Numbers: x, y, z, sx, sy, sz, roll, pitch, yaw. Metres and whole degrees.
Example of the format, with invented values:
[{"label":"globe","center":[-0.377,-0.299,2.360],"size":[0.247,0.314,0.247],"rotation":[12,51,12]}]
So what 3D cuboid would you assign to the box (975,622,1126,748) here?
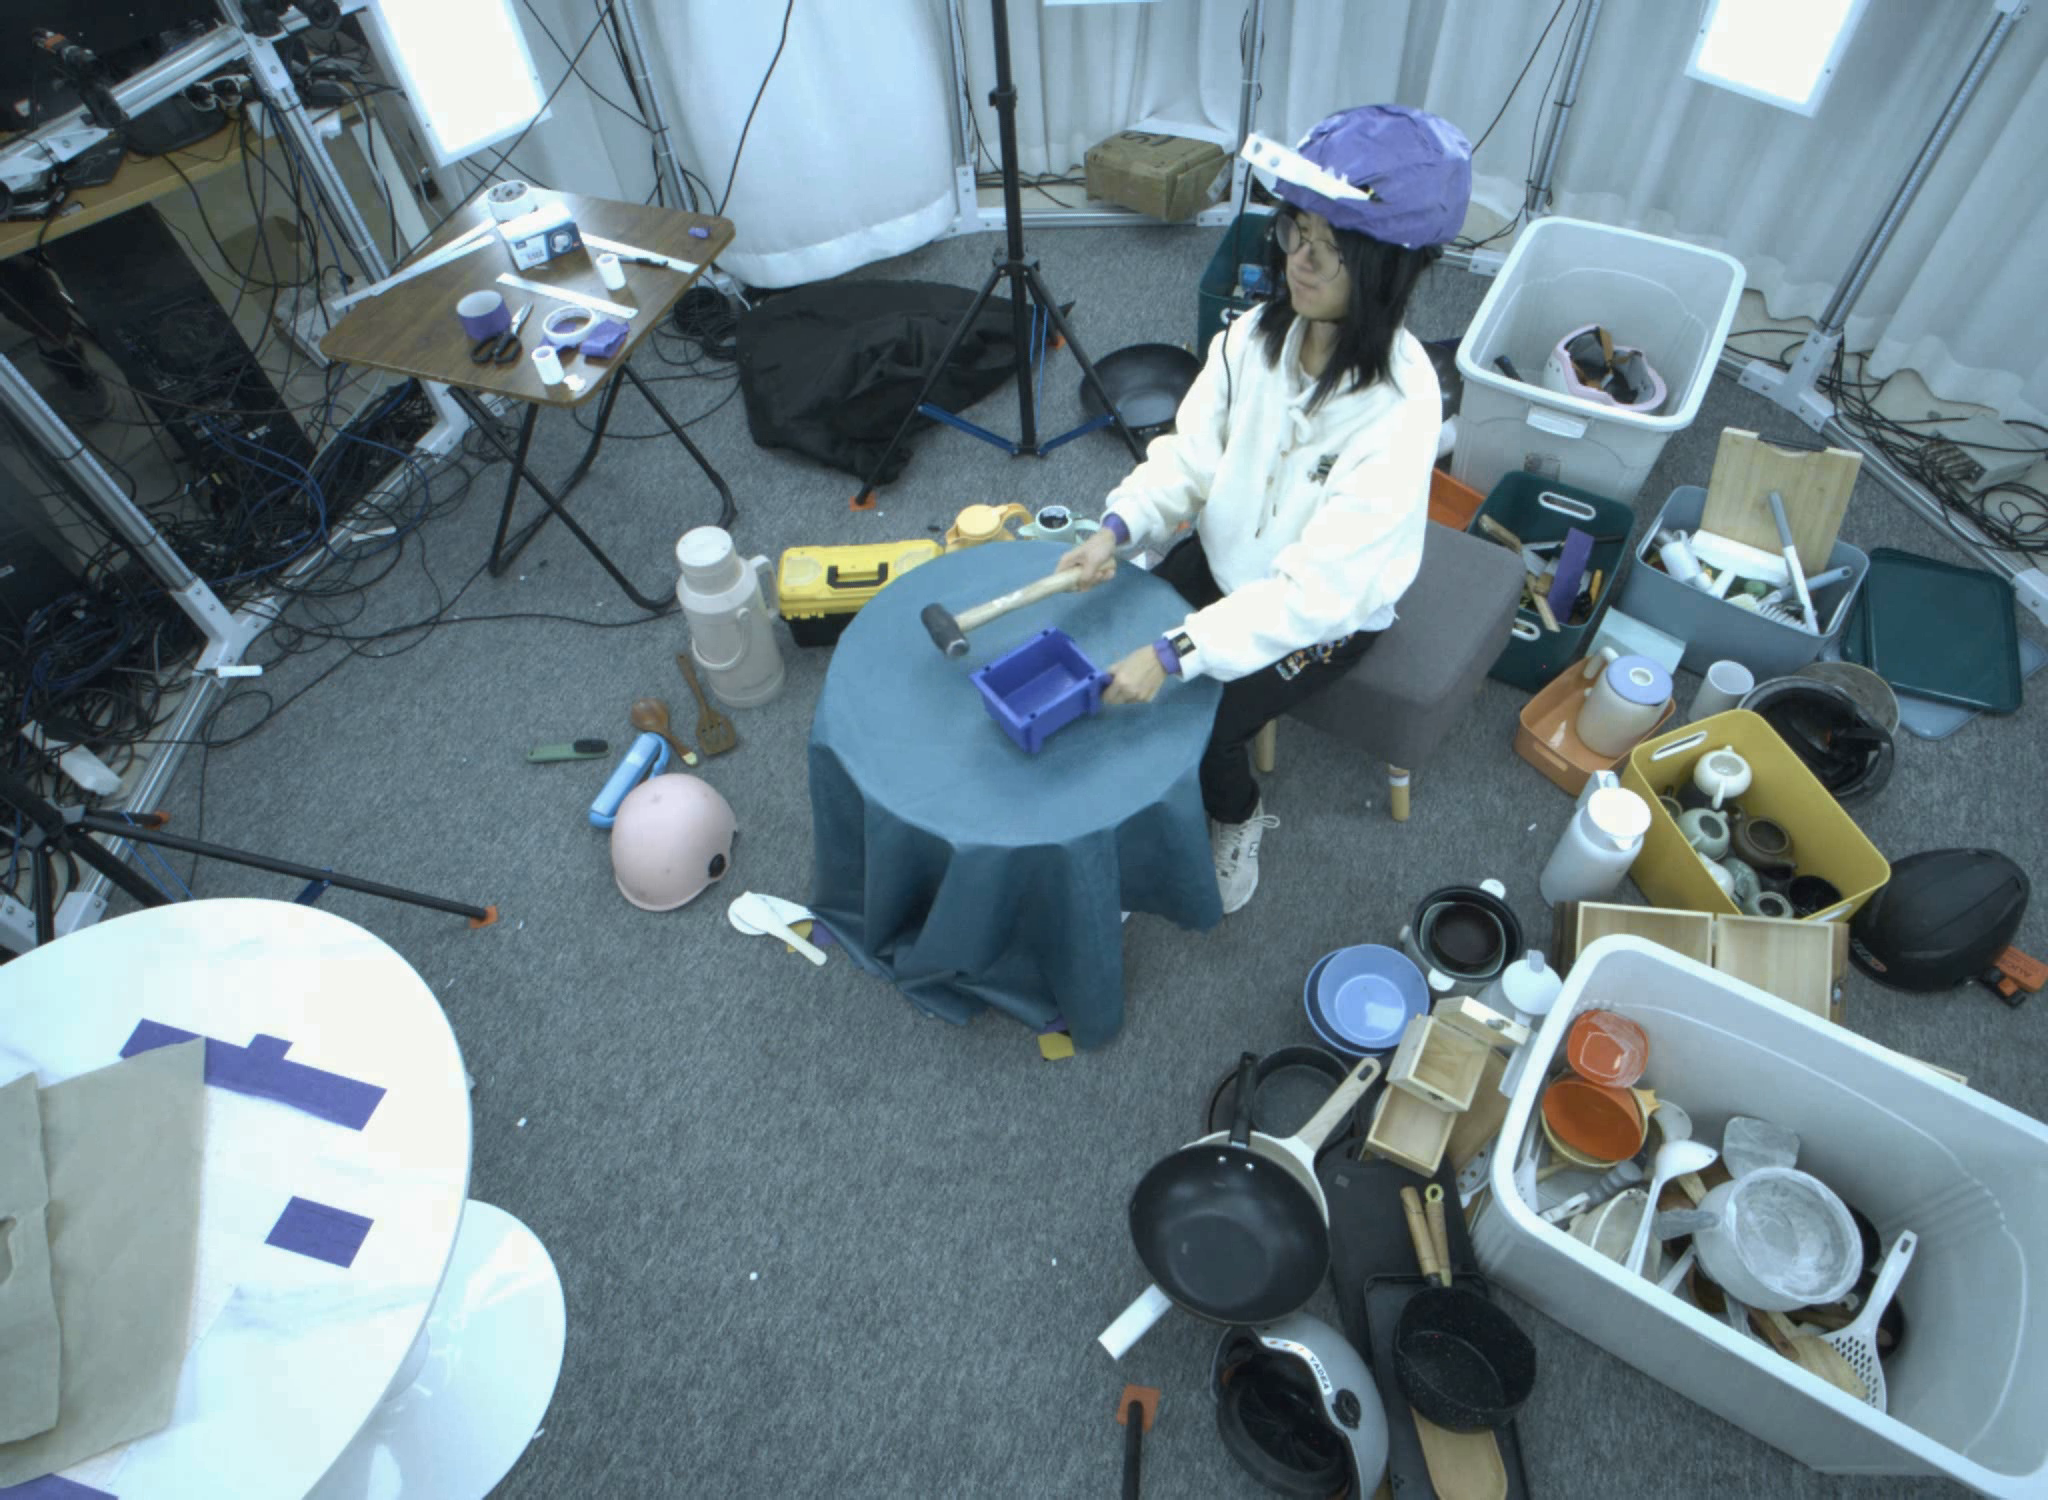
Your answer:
[{"label":"box","center":[0.038,-0.098,1.775],"size":[0.180,0.083,0.122],"rotation":[-34,61,-16]}]

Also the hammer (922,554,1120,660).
[{"label":"hammer","center":[0.003,-0.230,1.853],"size":[0.307,0.039,0.105],"rotation":[-23,49,-12]}]
